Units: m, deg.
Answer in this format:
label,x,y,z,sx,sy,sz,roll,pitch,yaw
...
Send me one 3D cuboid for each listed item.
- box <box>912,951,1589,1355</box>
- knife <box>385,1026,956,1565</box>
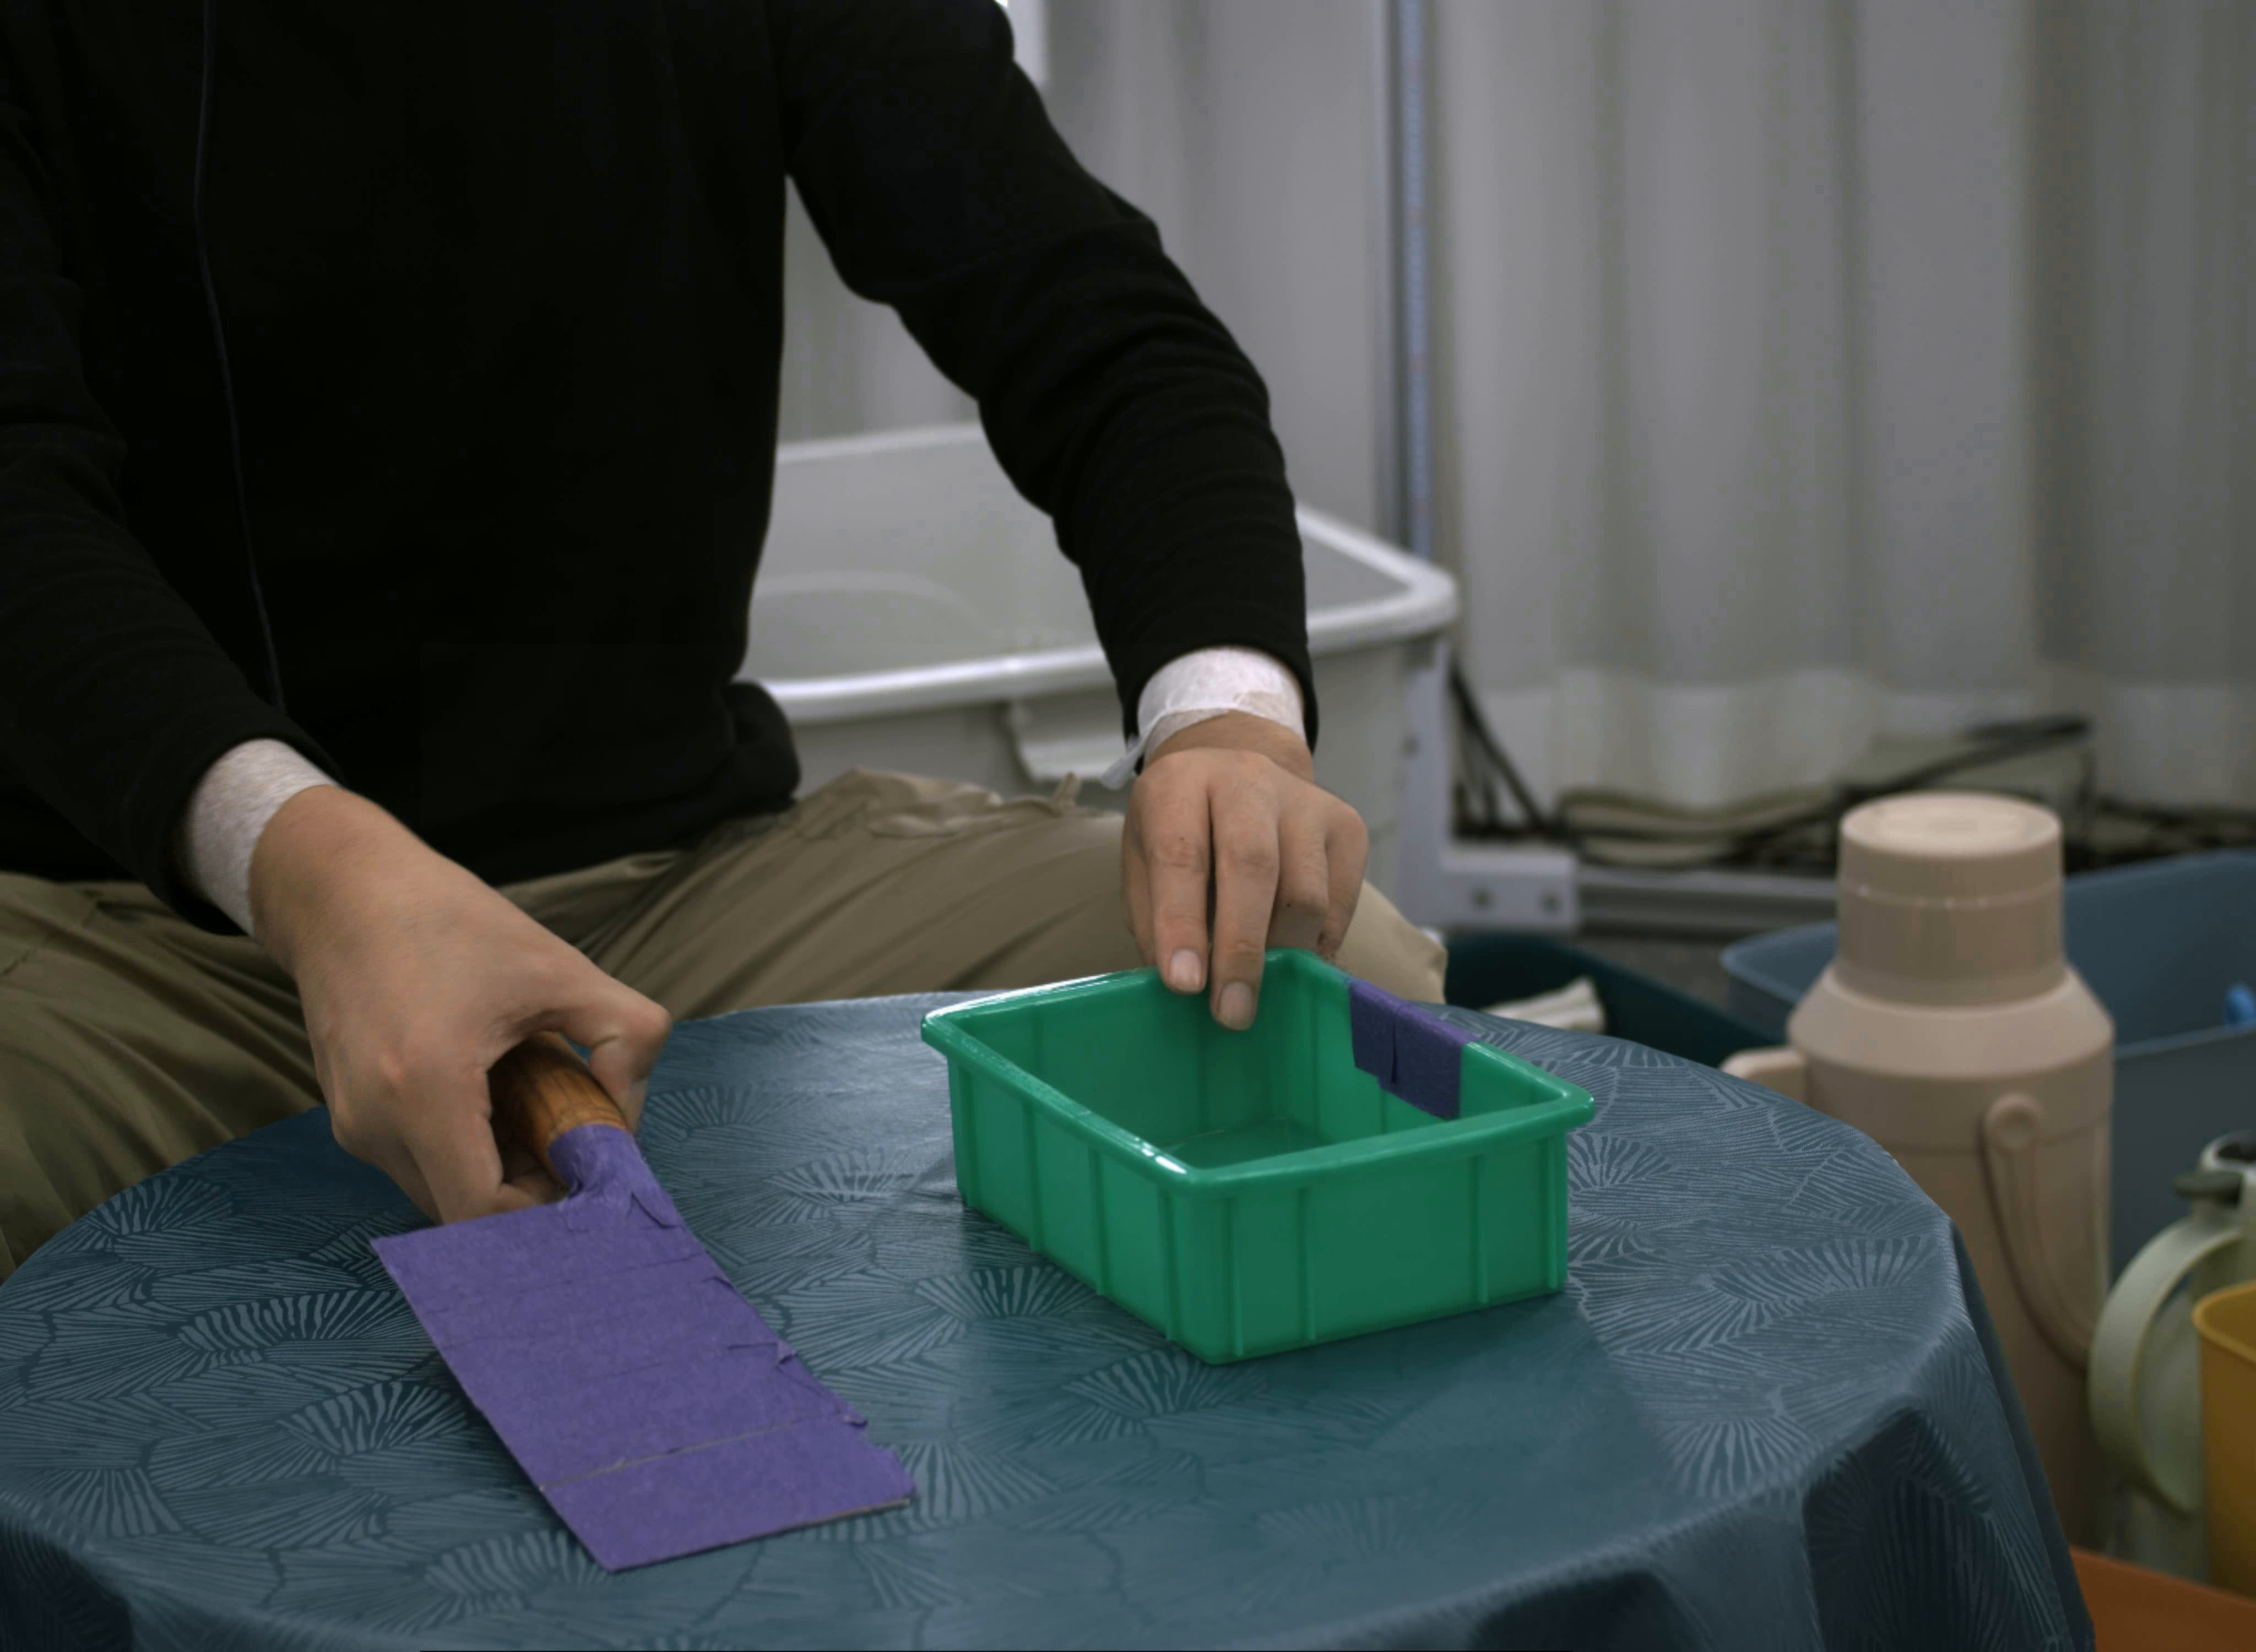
label,x,y,z,sx,sy,sz,roll,pitch,yaw
box,0.035,0.097,1.653,0.138,0.065,0.212,-8,14,-25
knife,-0.158,0.130,1.578,0.103,0.032,0.318,-9,22,-24
